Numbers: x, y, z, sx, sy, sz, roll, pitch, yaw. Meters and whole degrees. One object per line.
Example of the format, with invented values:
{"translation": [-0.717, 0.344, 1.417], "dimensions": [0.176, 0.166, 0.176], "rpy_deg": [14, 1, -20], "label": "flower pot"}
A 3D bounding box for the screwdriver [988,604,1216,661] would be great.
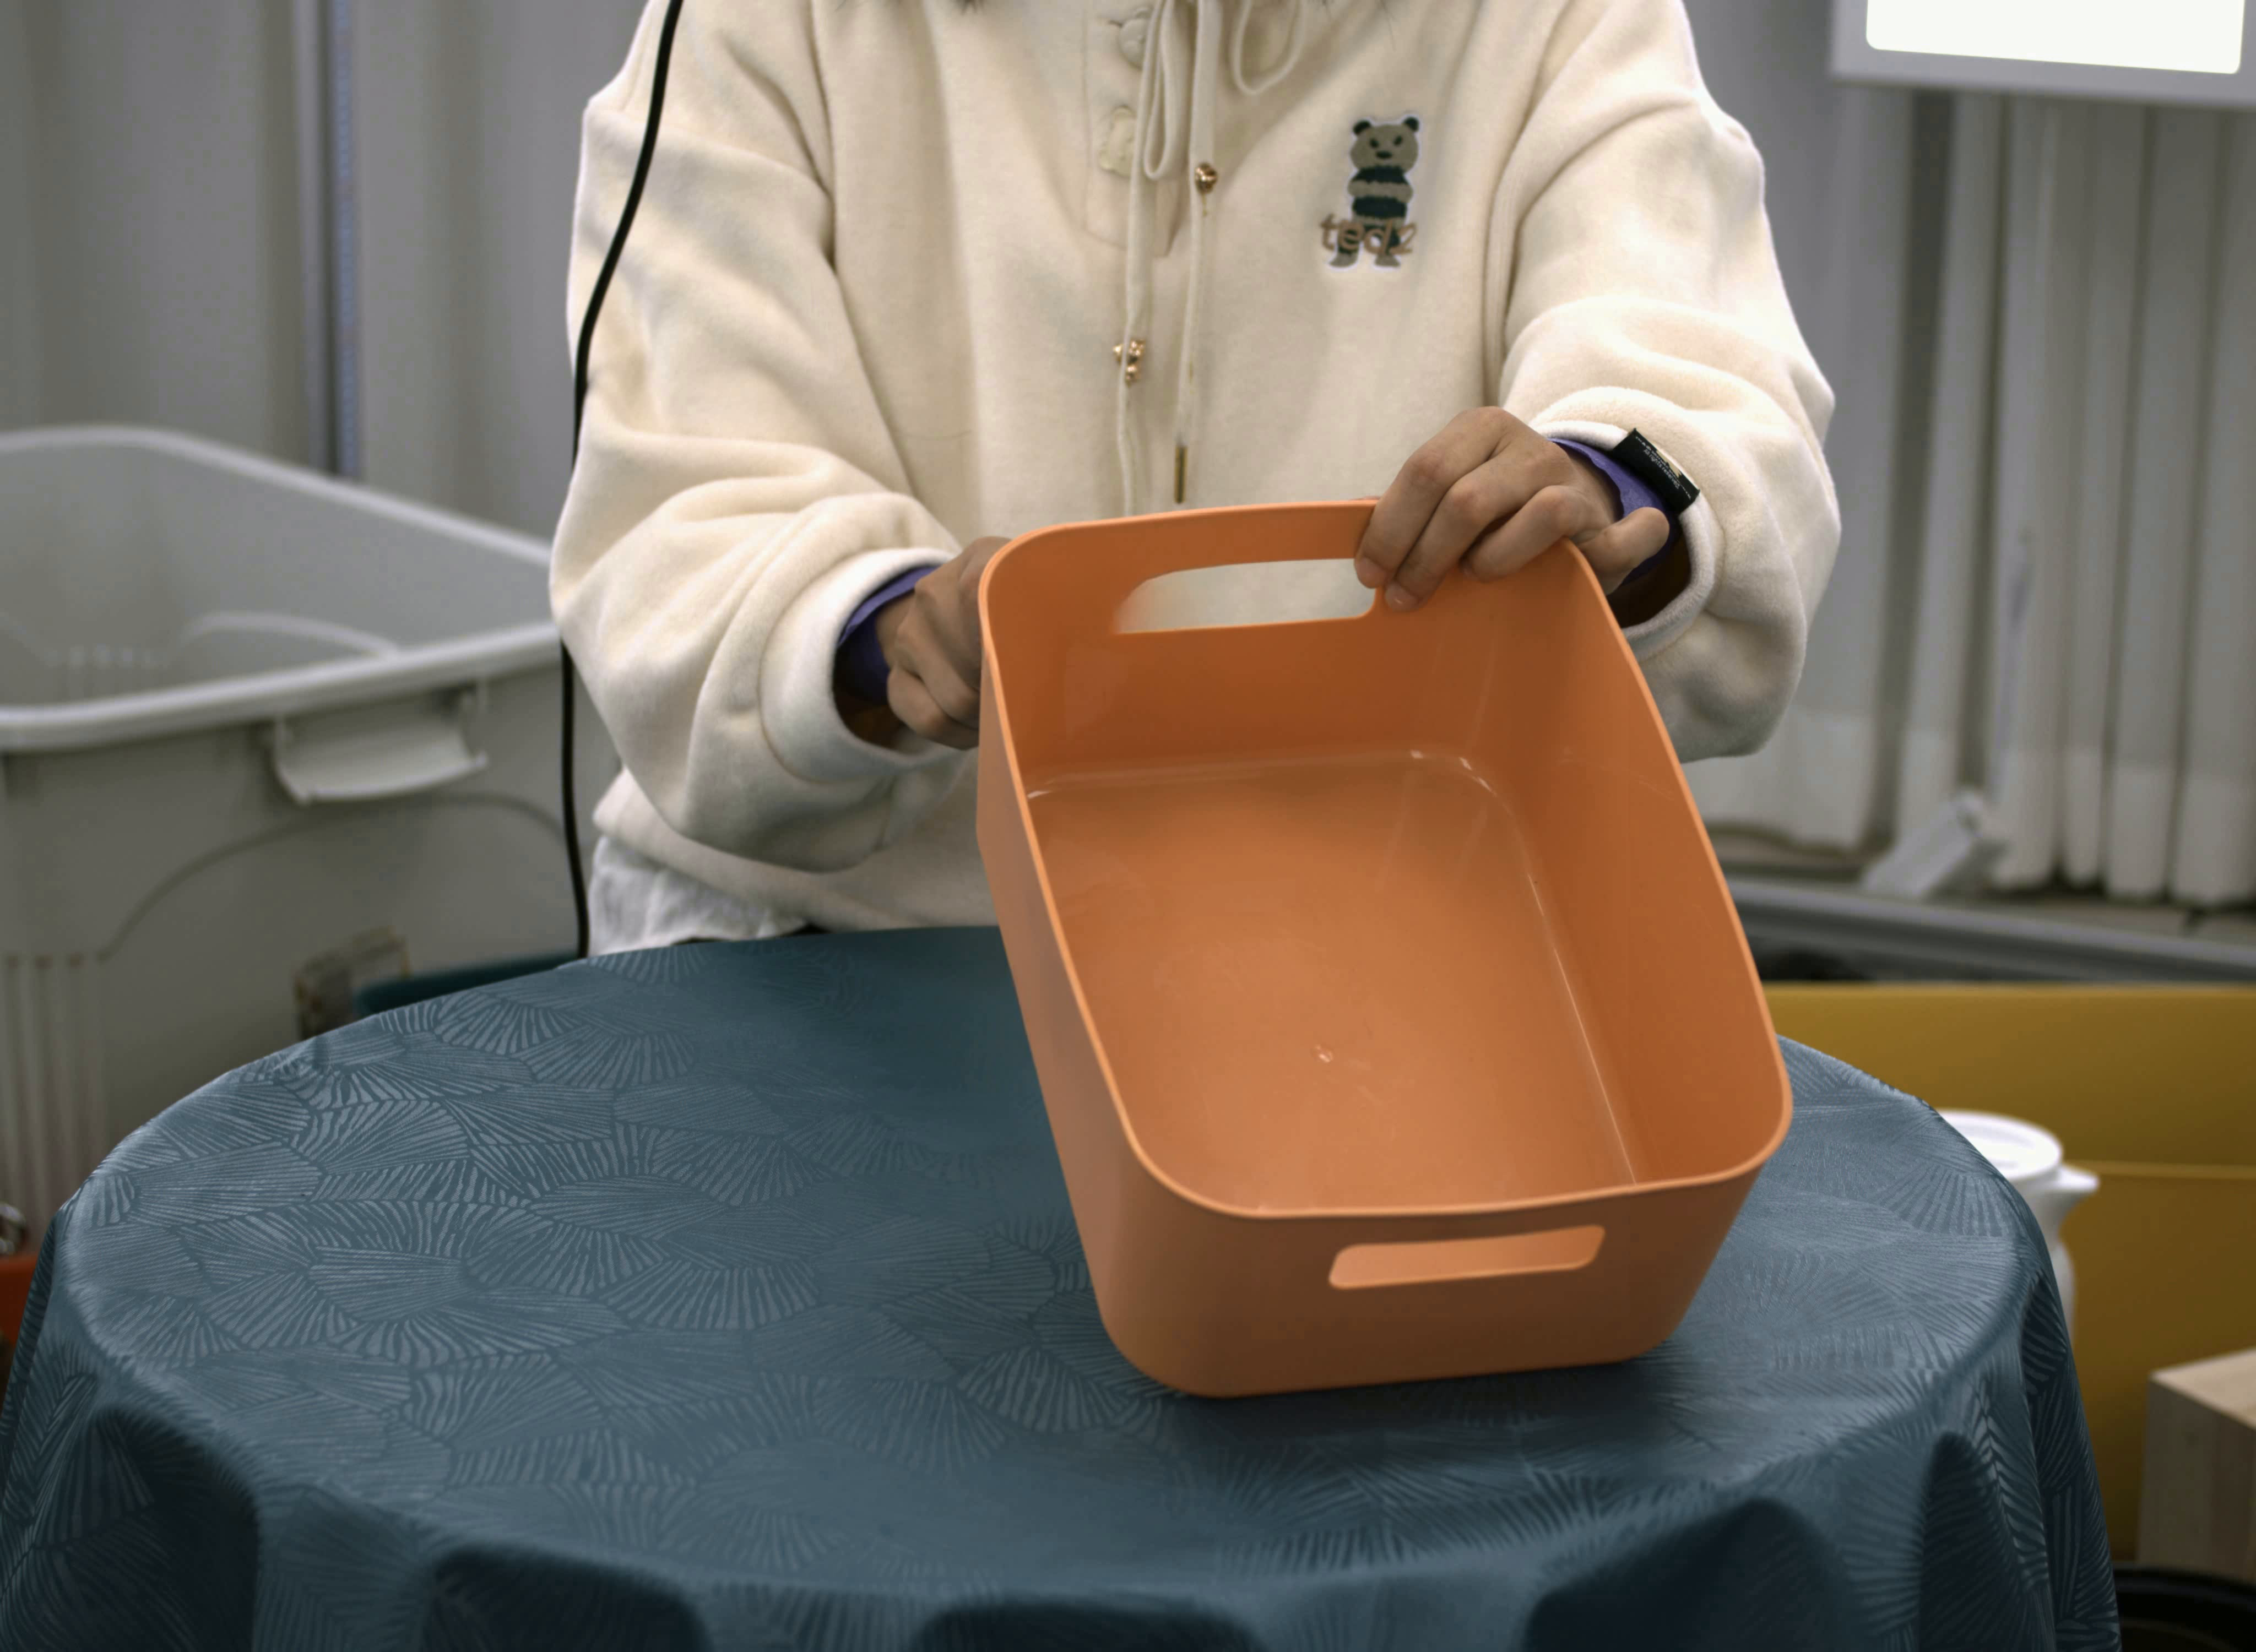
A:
{"translation": [-0.010, -0.062, 1.661], "dimensions": [0.031, 0.031, 0.196], "rpy_deg": [-4, 2, -15], "label": "screwdriver"}

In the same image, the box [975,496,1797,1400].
{"translation": [0.064, 0.035, 1.512], "dimensions": [0.199, 0.103, 0.270], "rpy_deg": [-4, 49, -14], "label": "box"}
